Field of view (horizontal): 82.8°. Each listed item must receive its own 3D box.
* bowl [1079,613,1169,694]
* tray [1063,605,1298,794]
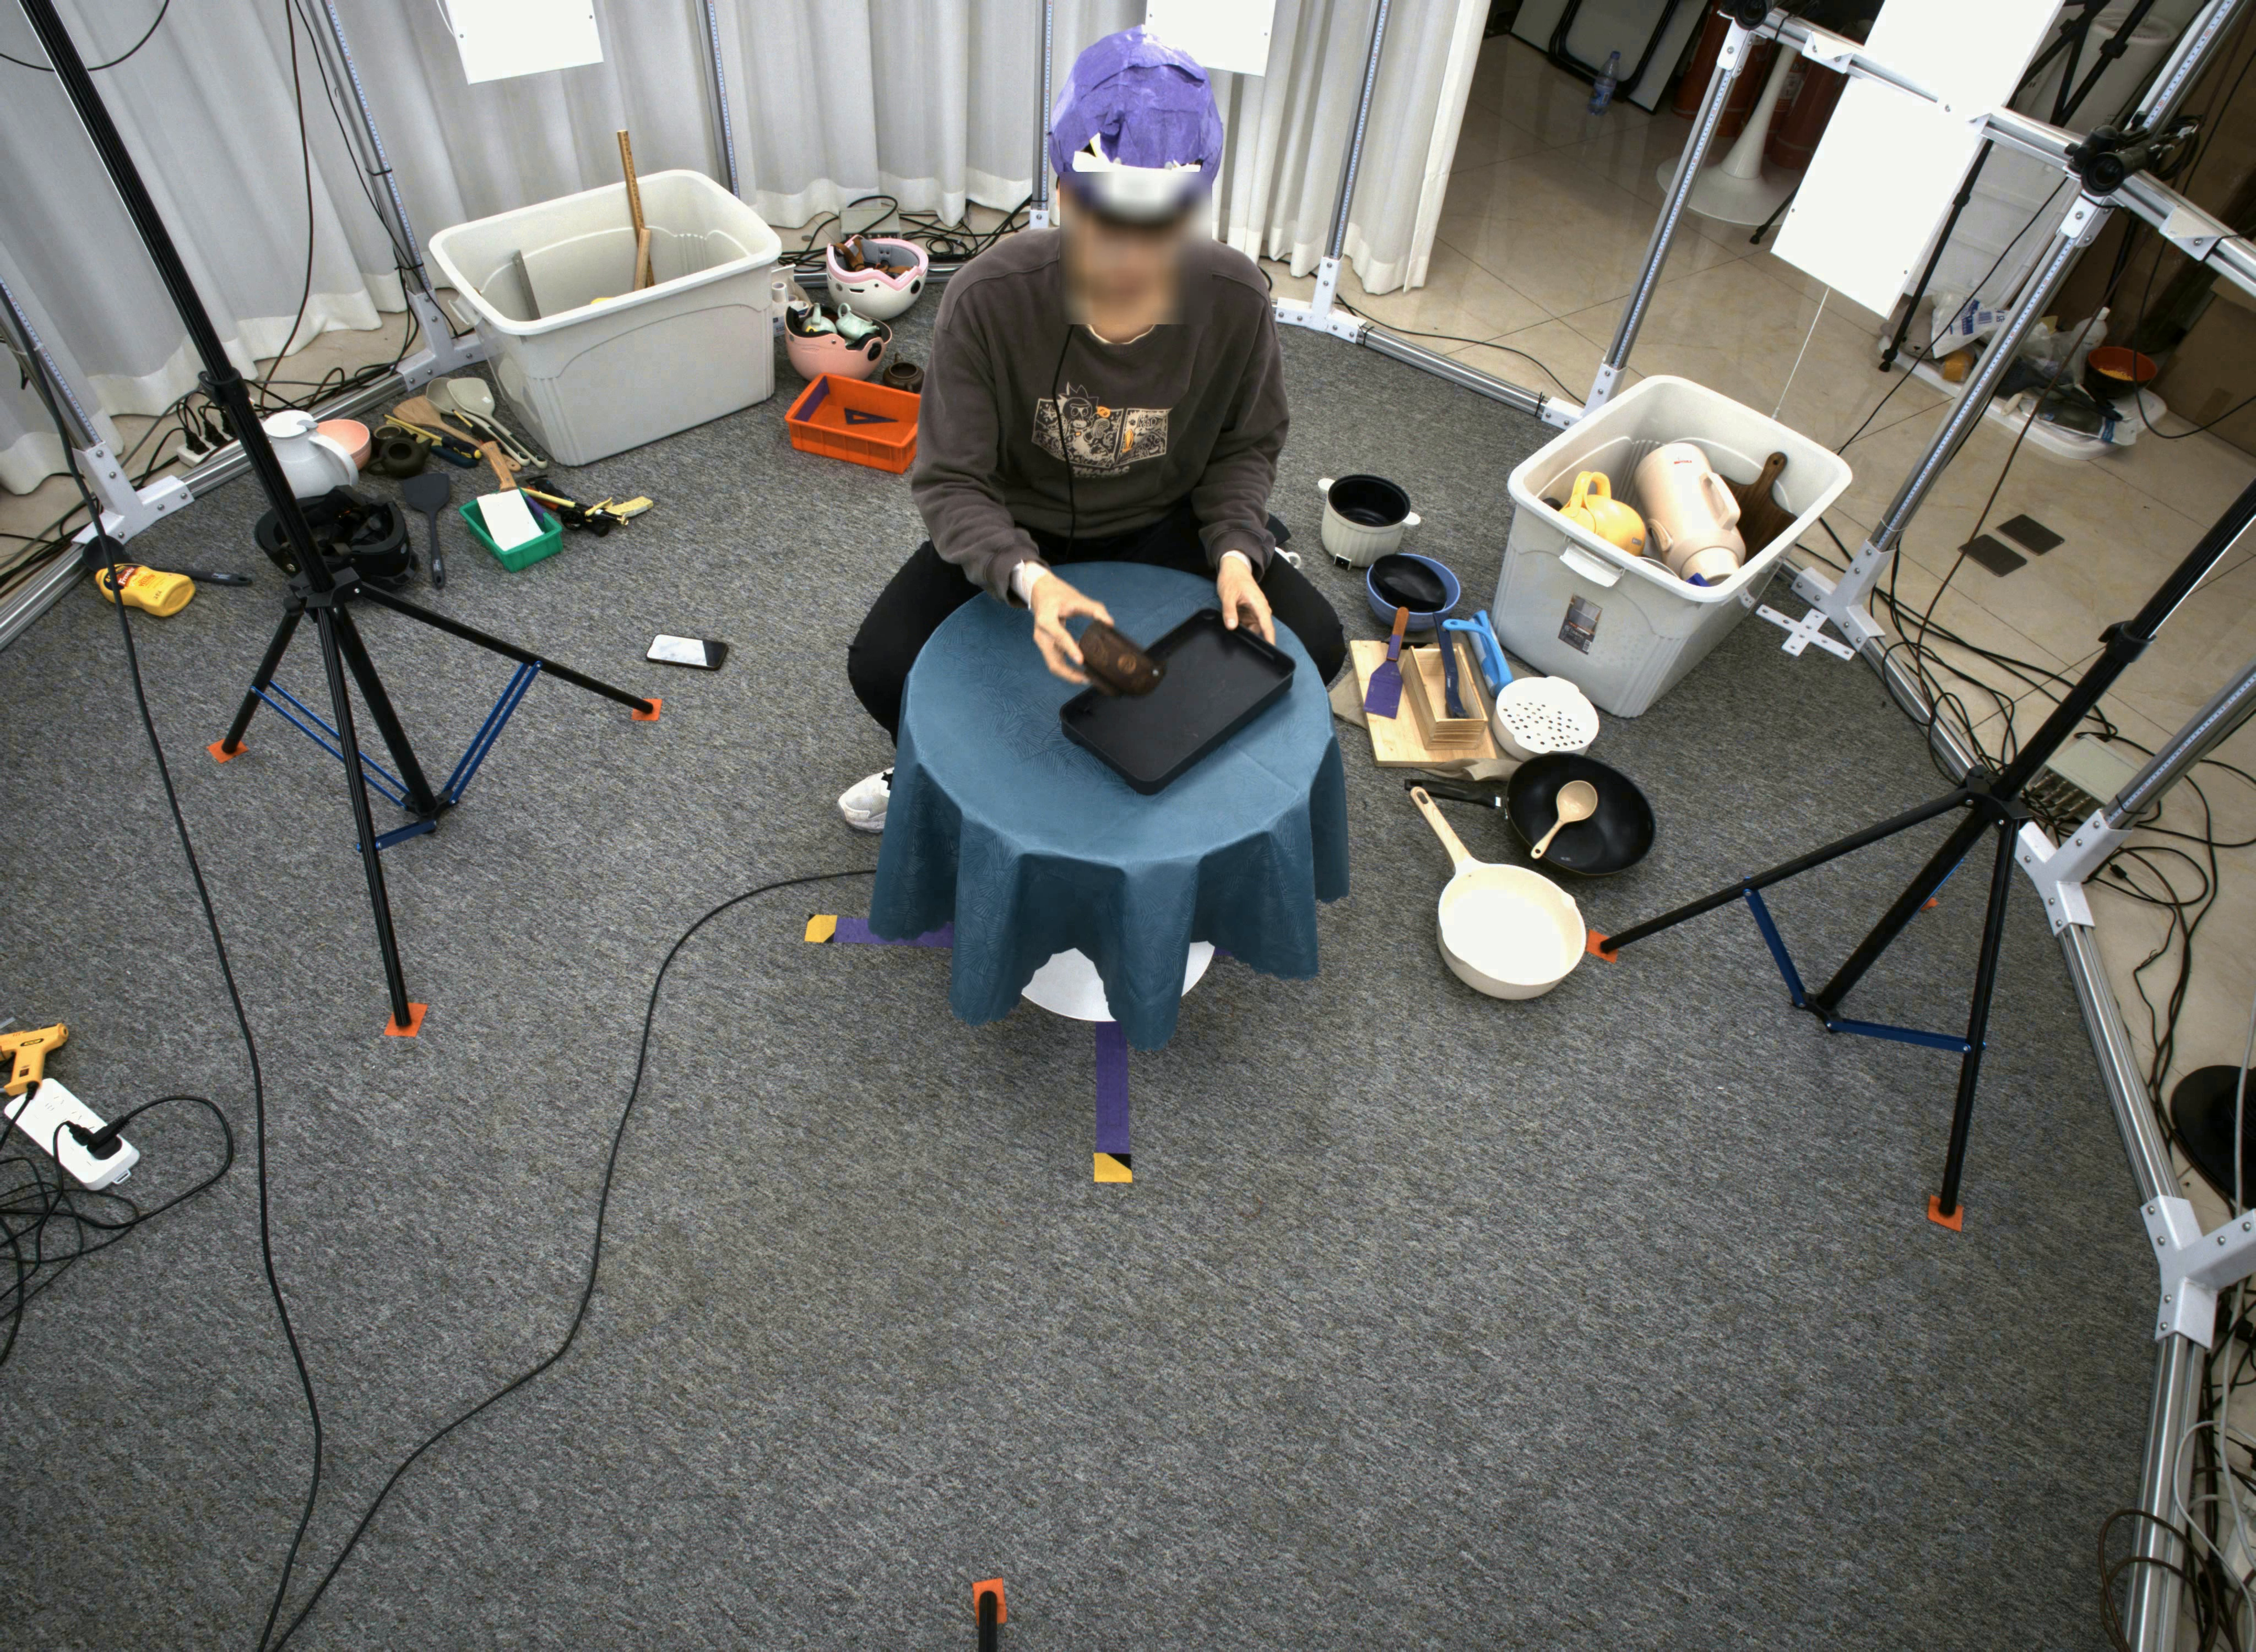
[{"bbox_3d":[-0.013,-0.215,1.654,0.117,0.069,0.119,31,10,-6],"label":"bowl"},{"bbox_3d":[0.077,-0.183,1.798,0.187,0.036,0.321,36,59,26],"label":"tray"}]
